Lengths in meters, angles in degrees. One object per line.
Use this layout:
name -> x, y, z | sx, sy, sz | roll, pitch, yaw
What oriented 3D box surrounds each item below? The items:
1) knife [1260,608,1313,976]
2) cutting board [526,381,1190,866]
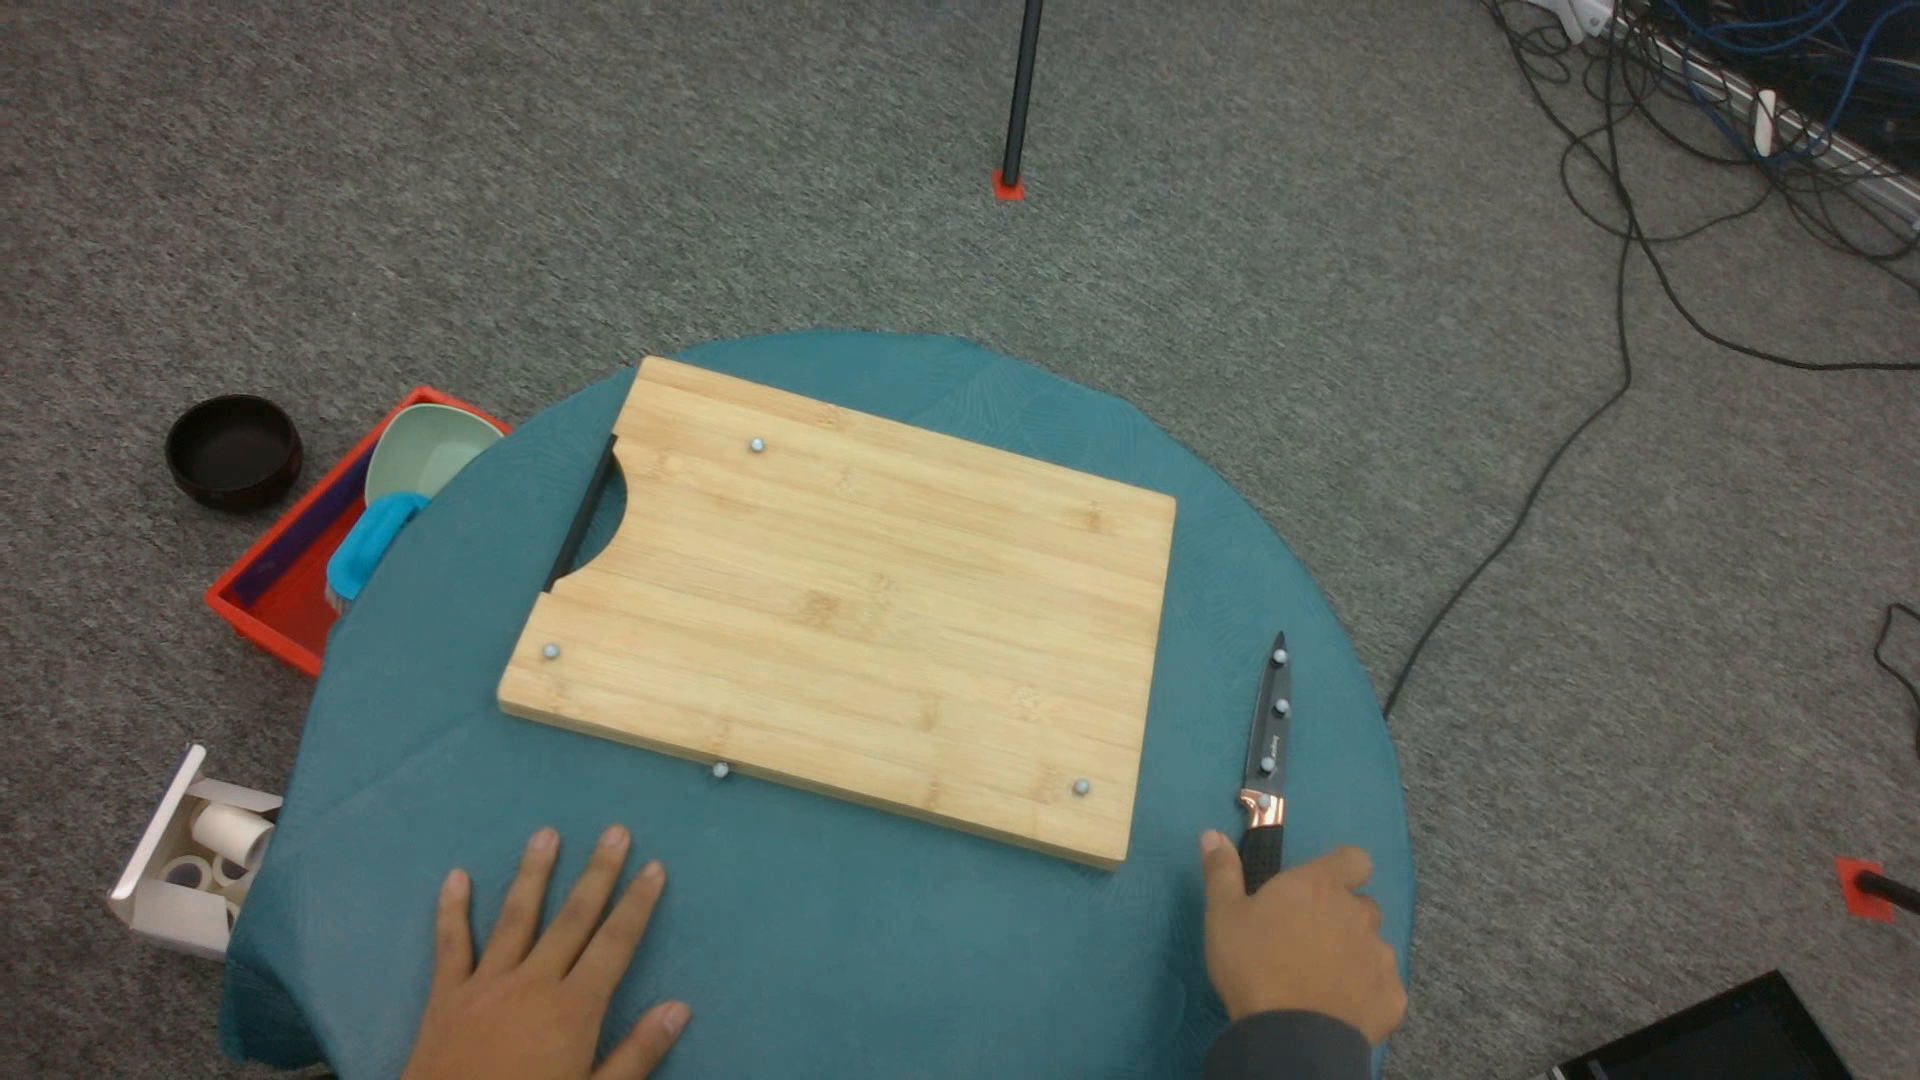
knife -> 0.187, 0.135, 0.780 | 0.026, 0.017, 0.226 | 9, 56, 6
cutting board -> -0.045, 0.039, 0.806 | 0.348, 0.023, 0.252 | 11, 57, -1
